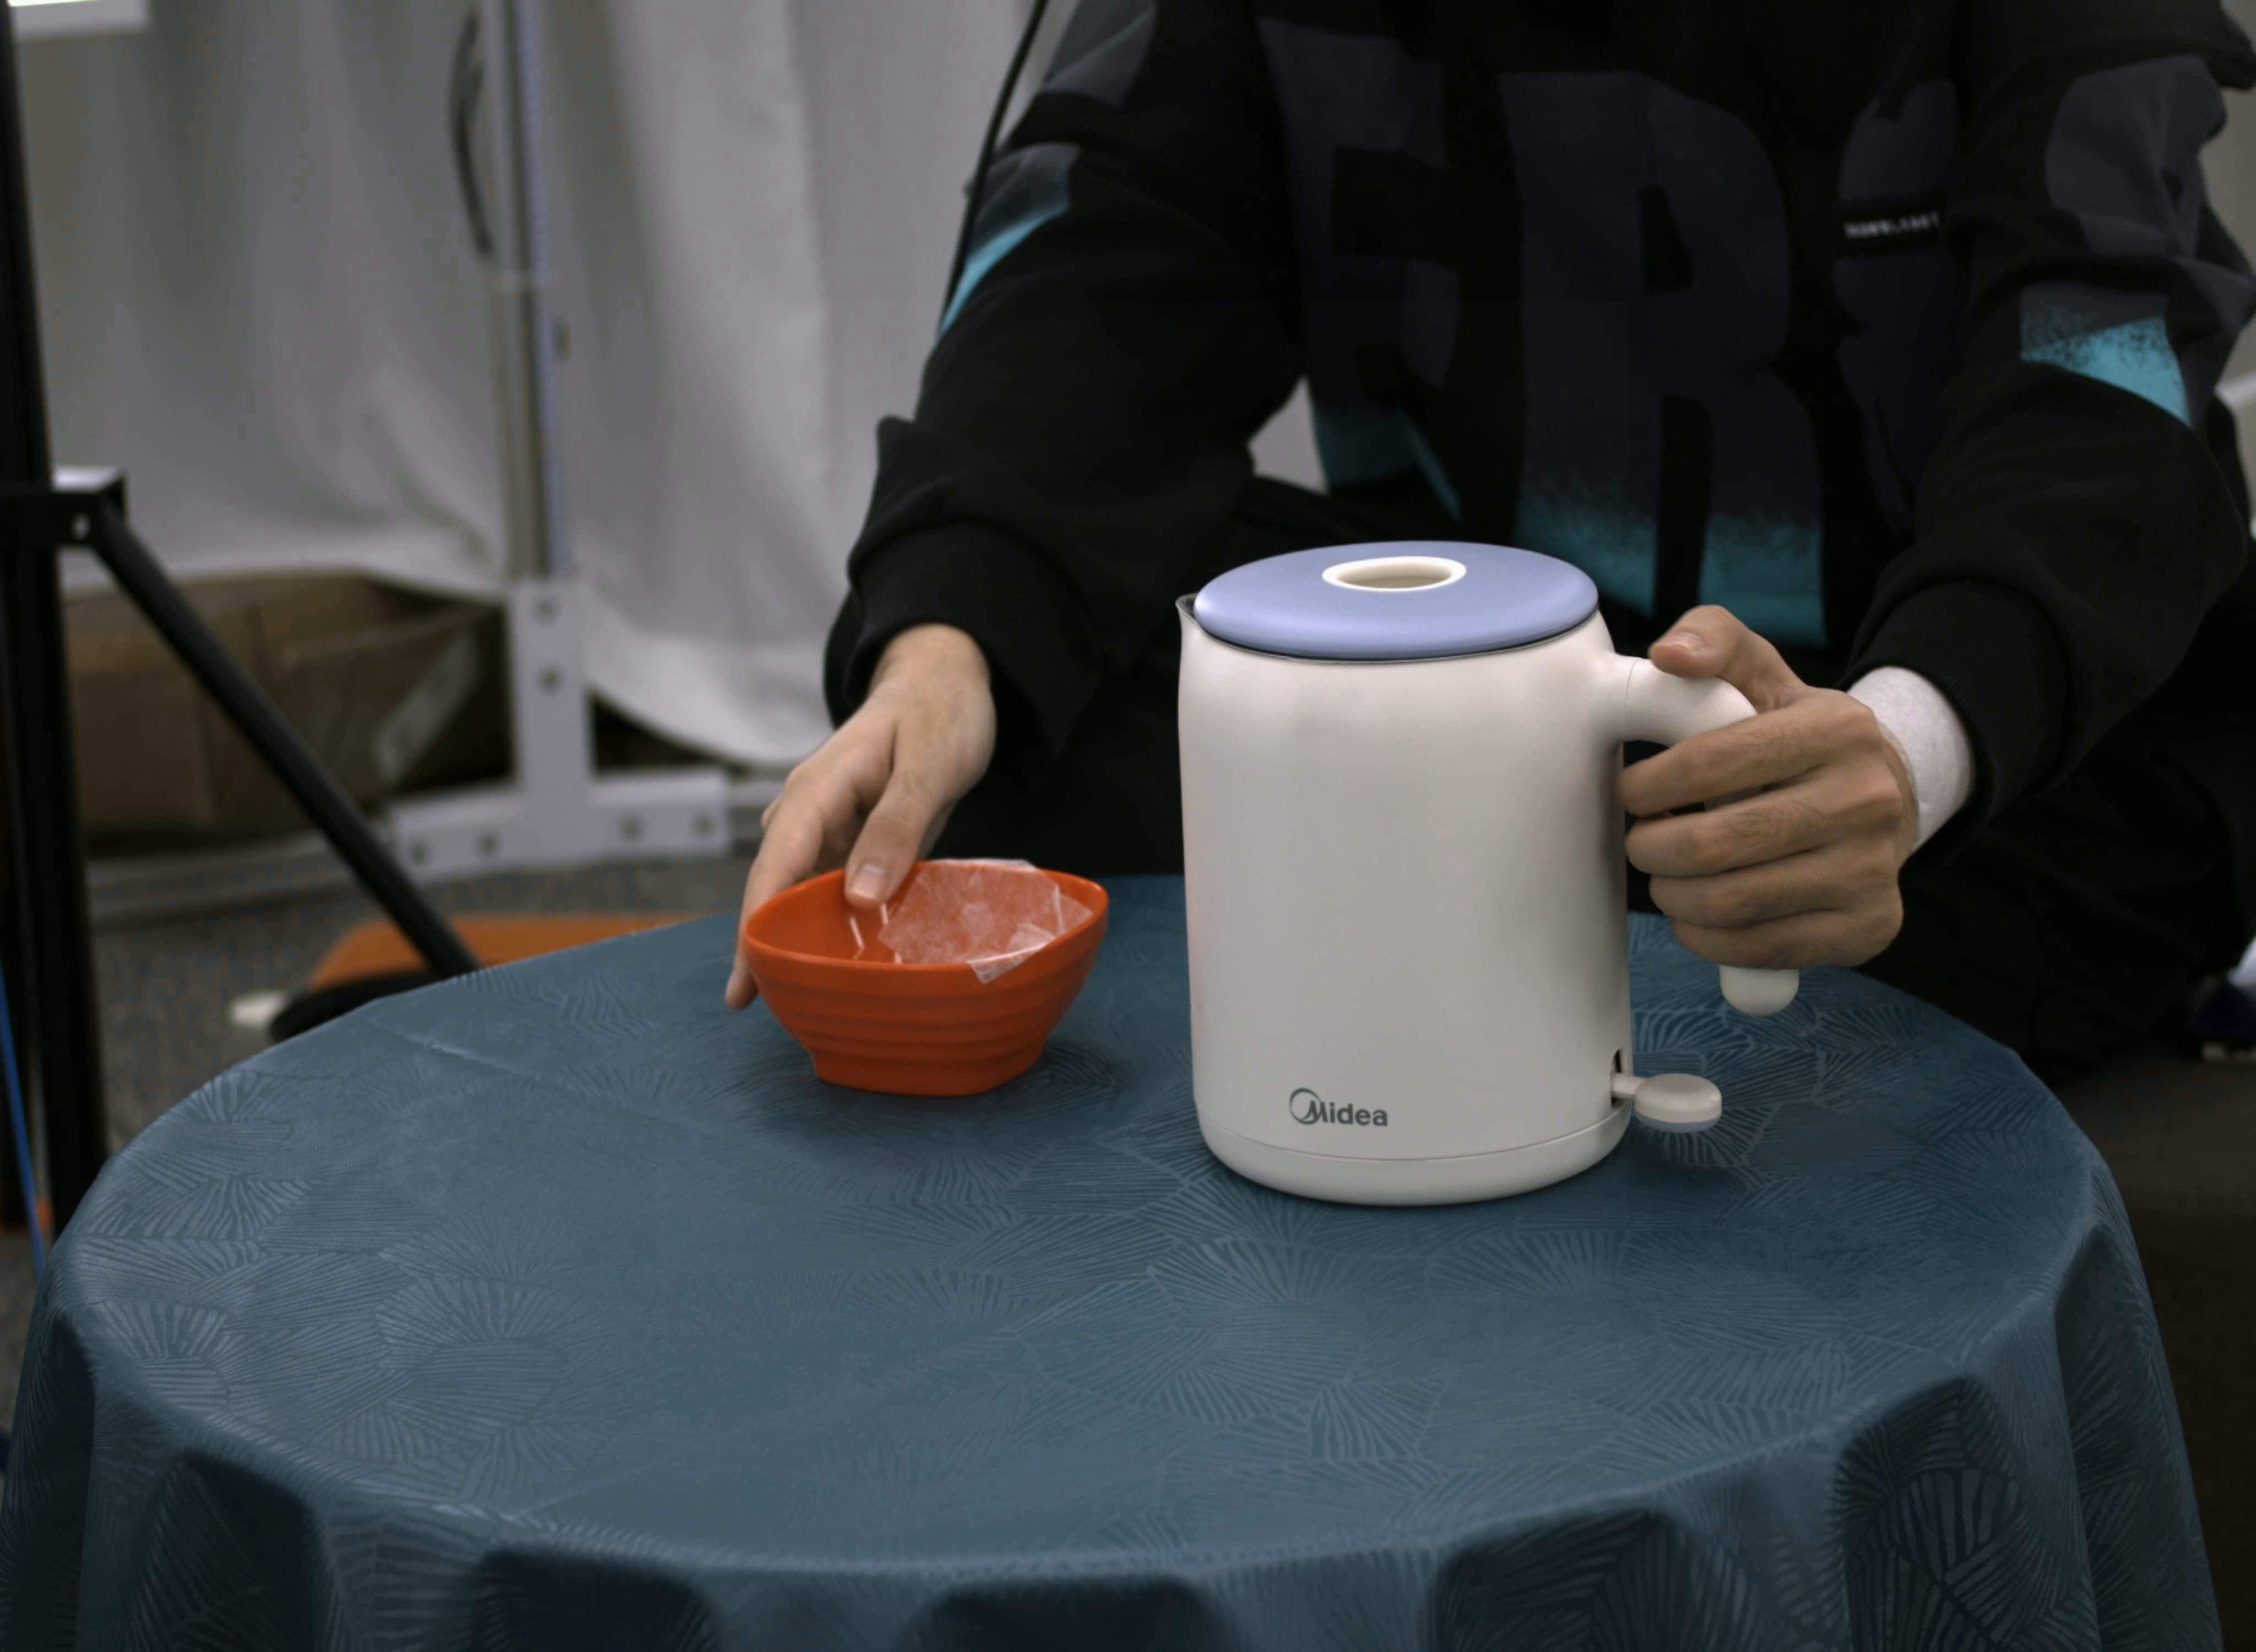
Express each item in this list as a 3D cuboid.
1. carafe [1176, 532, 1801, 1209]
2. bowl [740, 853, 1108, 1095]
[{"bbox_3d":[0.105,0.015,1.558,0.193,0.182,0.130,6,19,21],"label":"carafe"},{"bbox_3d":[-0.062,0.049,1.678,0.118,0.051,0.119,-5,17,0],"label":"bowl"}]
